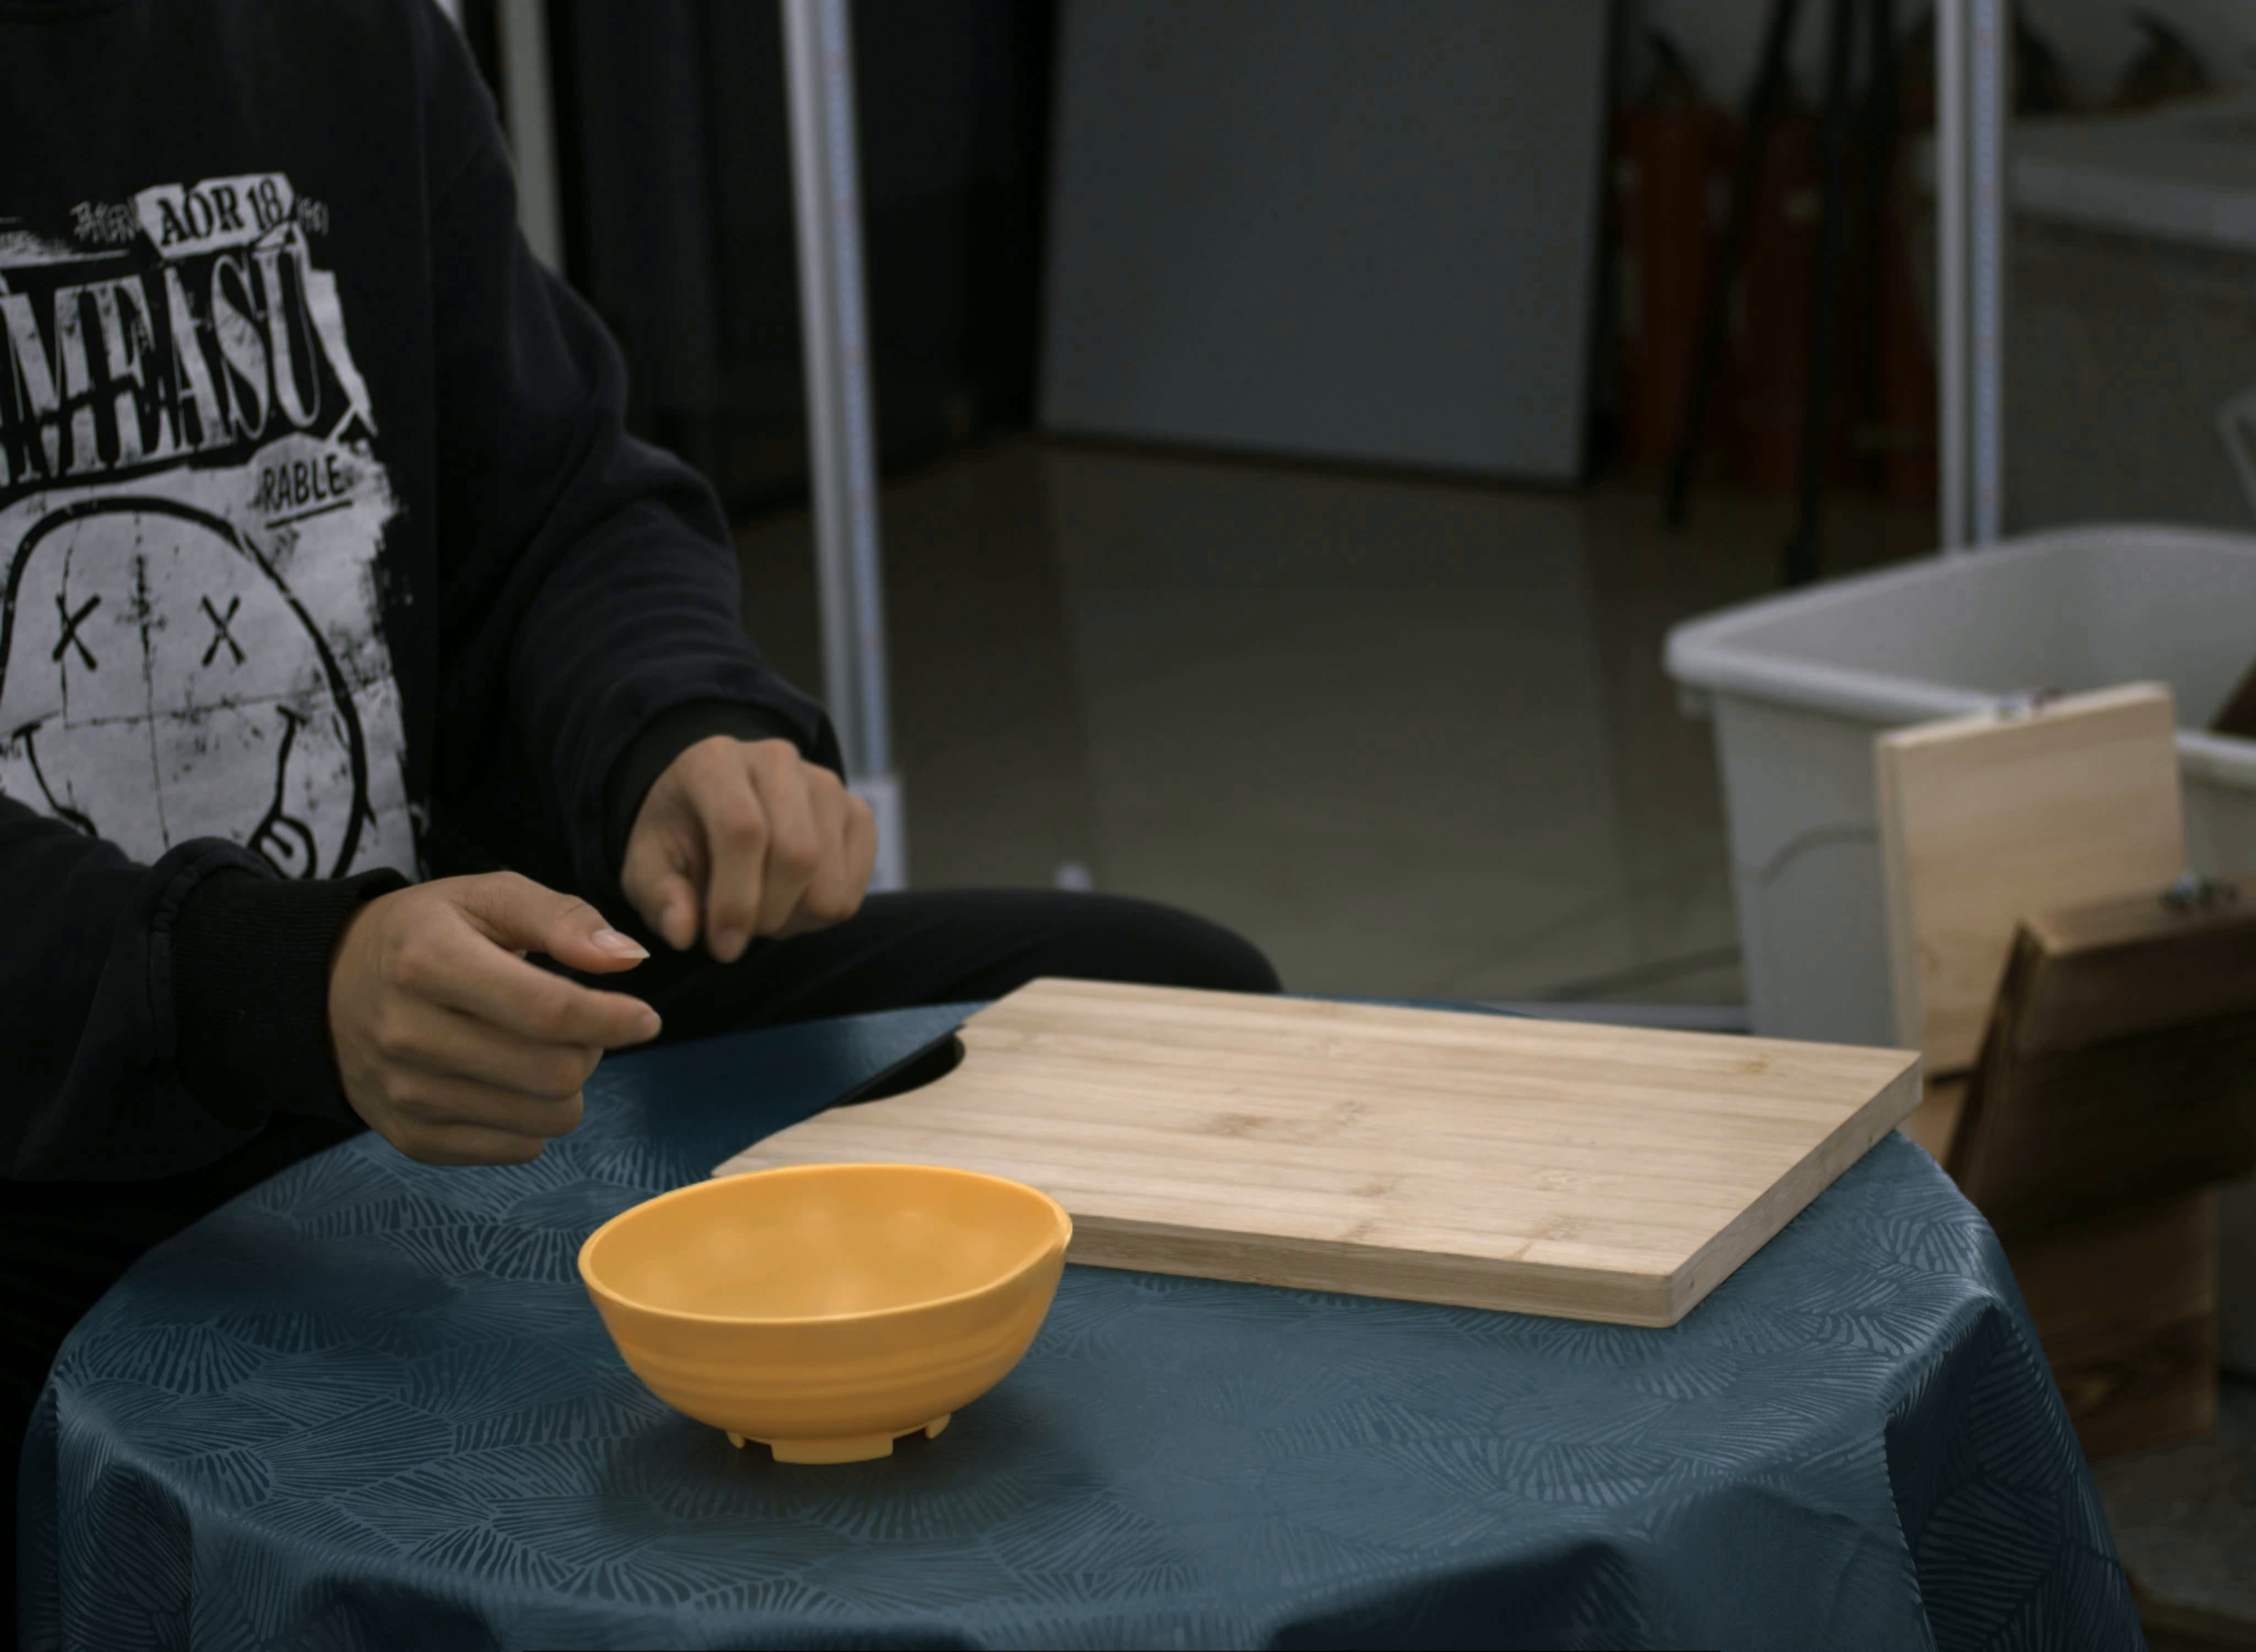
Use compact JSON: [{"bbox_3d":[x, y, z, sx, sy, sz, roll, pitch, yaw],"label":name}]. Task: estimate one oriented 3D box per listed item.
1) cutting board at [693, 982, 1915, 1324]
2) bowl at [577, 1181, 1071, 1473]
[{"bbox_3d":[0.061,0.104,1.789,0.349,0.024,0.247,3,15,27],"label":"cutting board"},{"bbox_3d":[-0.087,0.149,1.566,0.143,0.061,0.145,-2,11,0],"label":"bowl"}]
